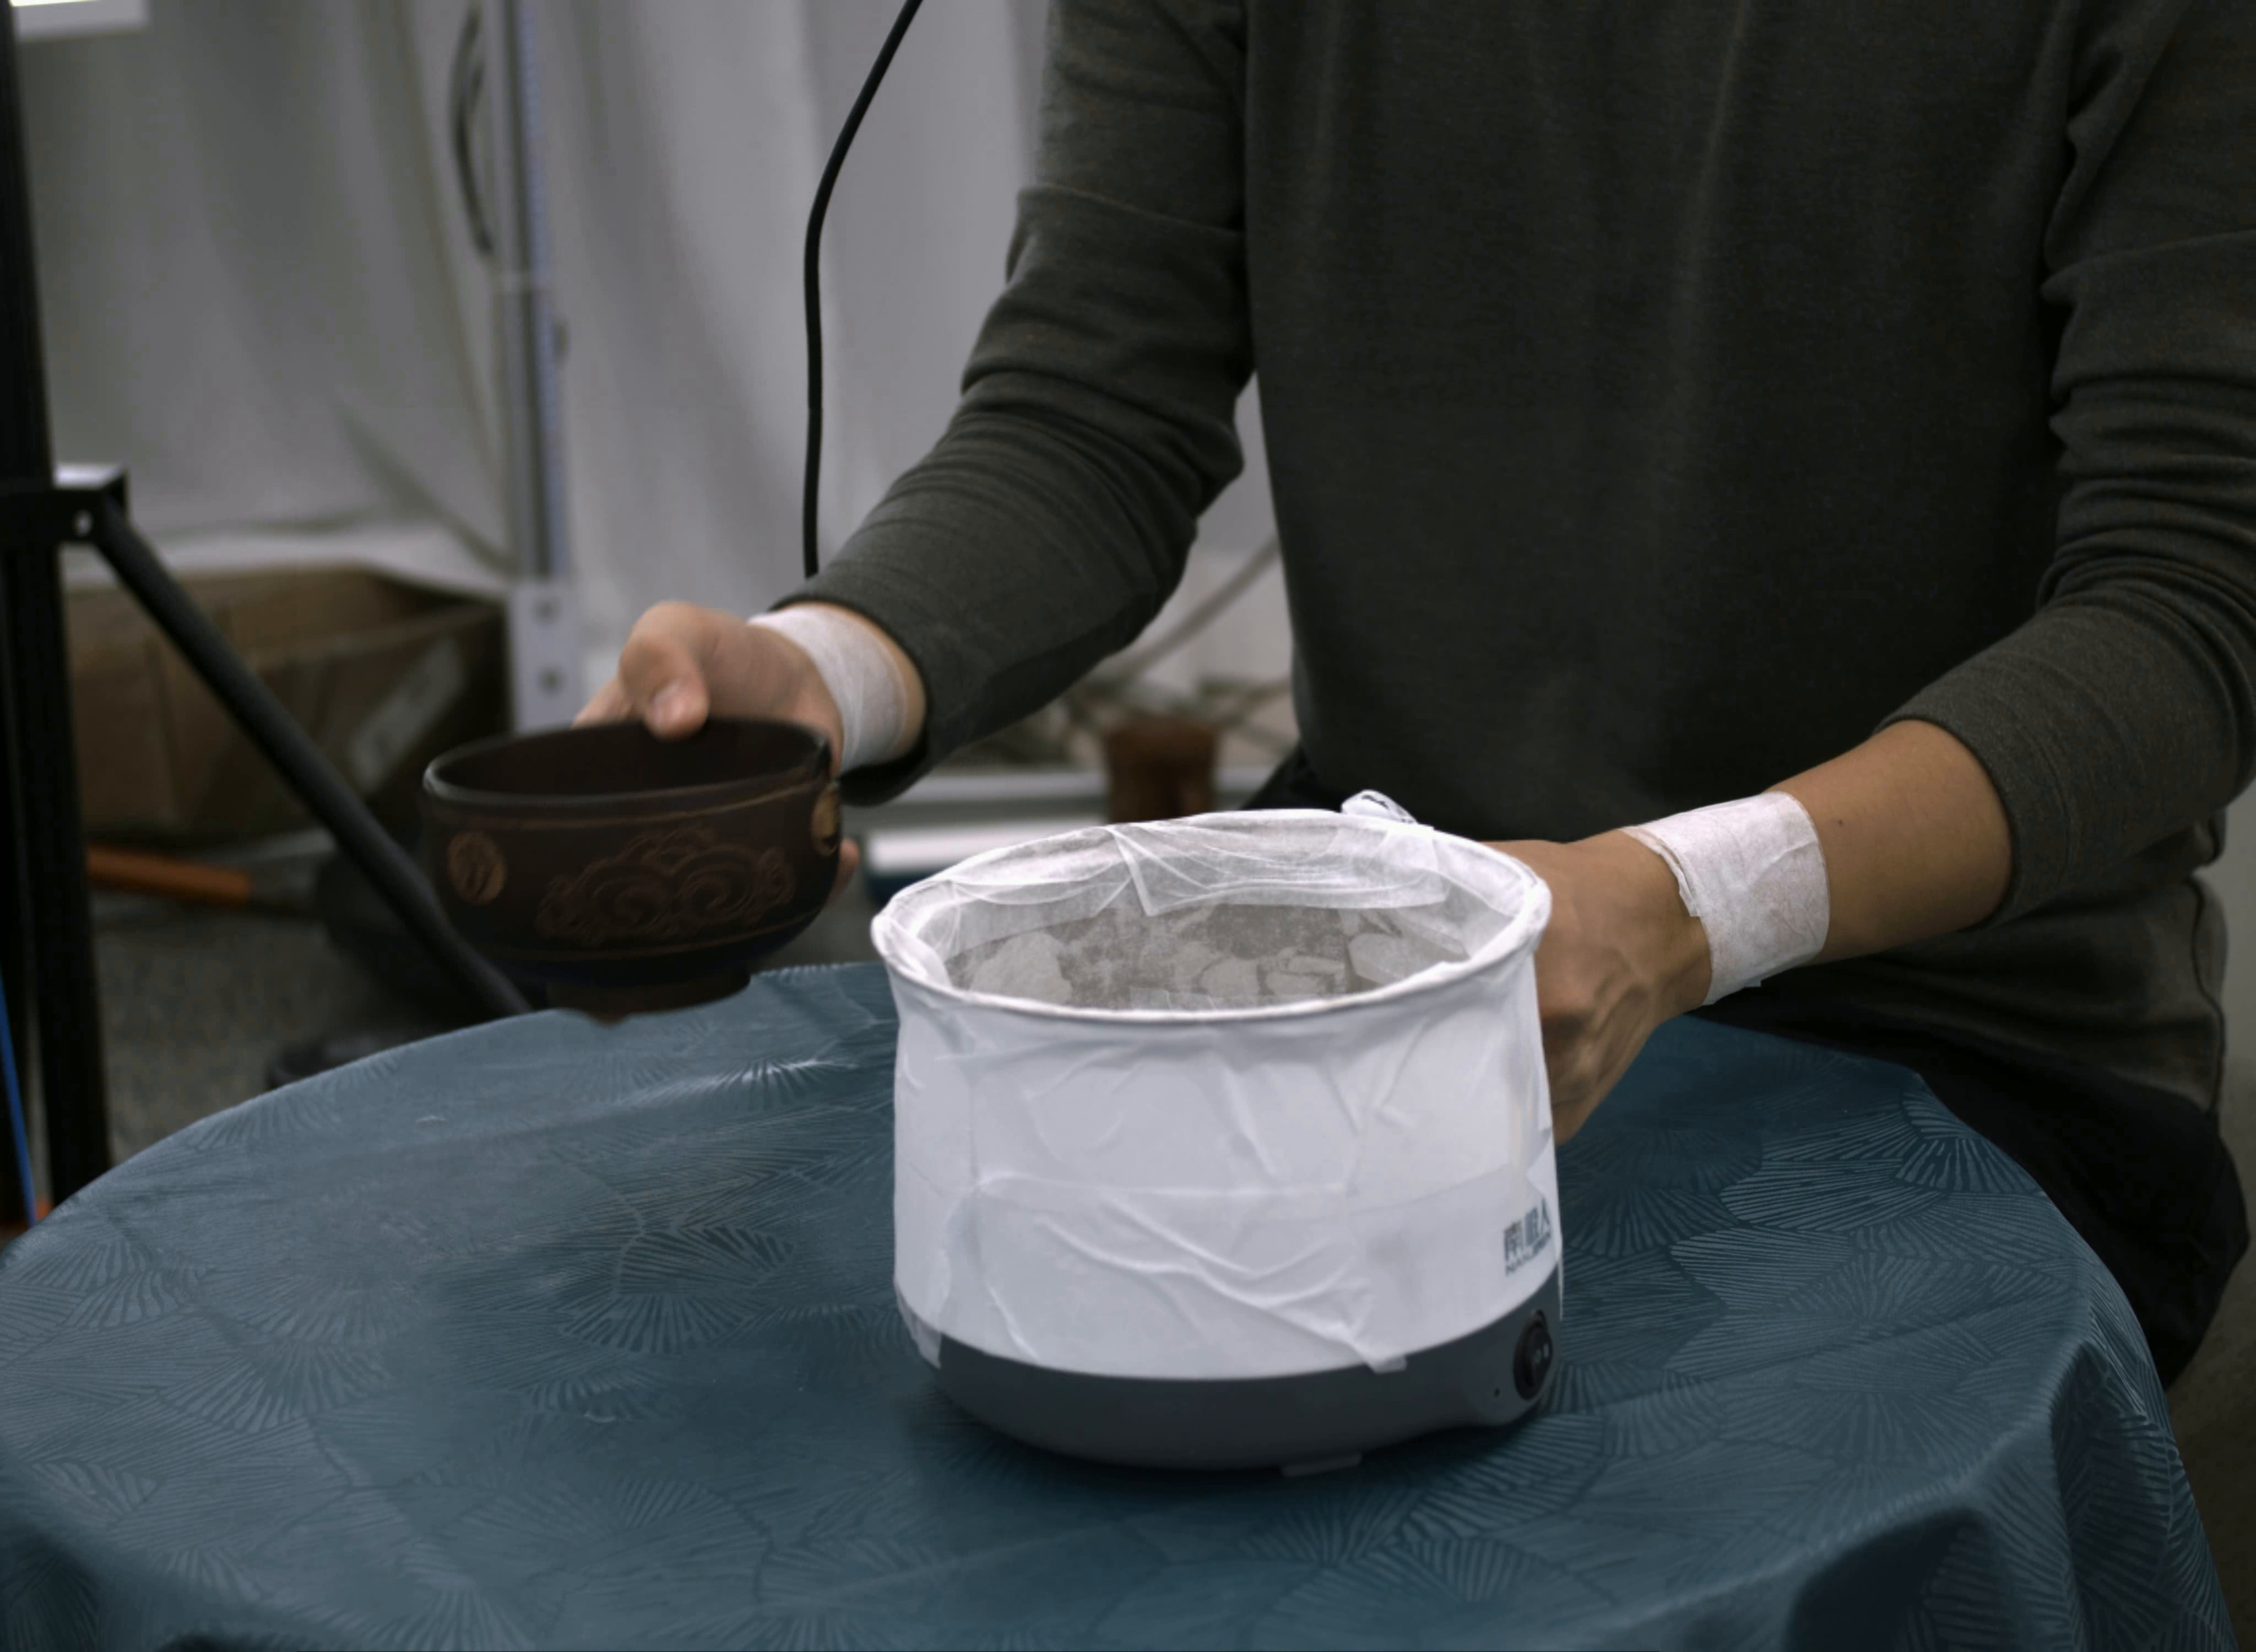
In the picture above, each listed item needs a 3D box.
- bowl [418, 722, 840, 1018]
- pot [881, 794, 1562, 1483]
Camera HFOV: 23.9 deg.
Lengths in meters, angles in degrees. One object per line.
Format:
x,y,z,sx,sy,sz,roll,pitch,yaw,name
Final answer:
-0.138,0.014,1.498,0.117,0.070,0.118,-5,9,-1,bowl
0.038,0.076,1.415,0.181,0.136,0.230,5,17,26,pot
